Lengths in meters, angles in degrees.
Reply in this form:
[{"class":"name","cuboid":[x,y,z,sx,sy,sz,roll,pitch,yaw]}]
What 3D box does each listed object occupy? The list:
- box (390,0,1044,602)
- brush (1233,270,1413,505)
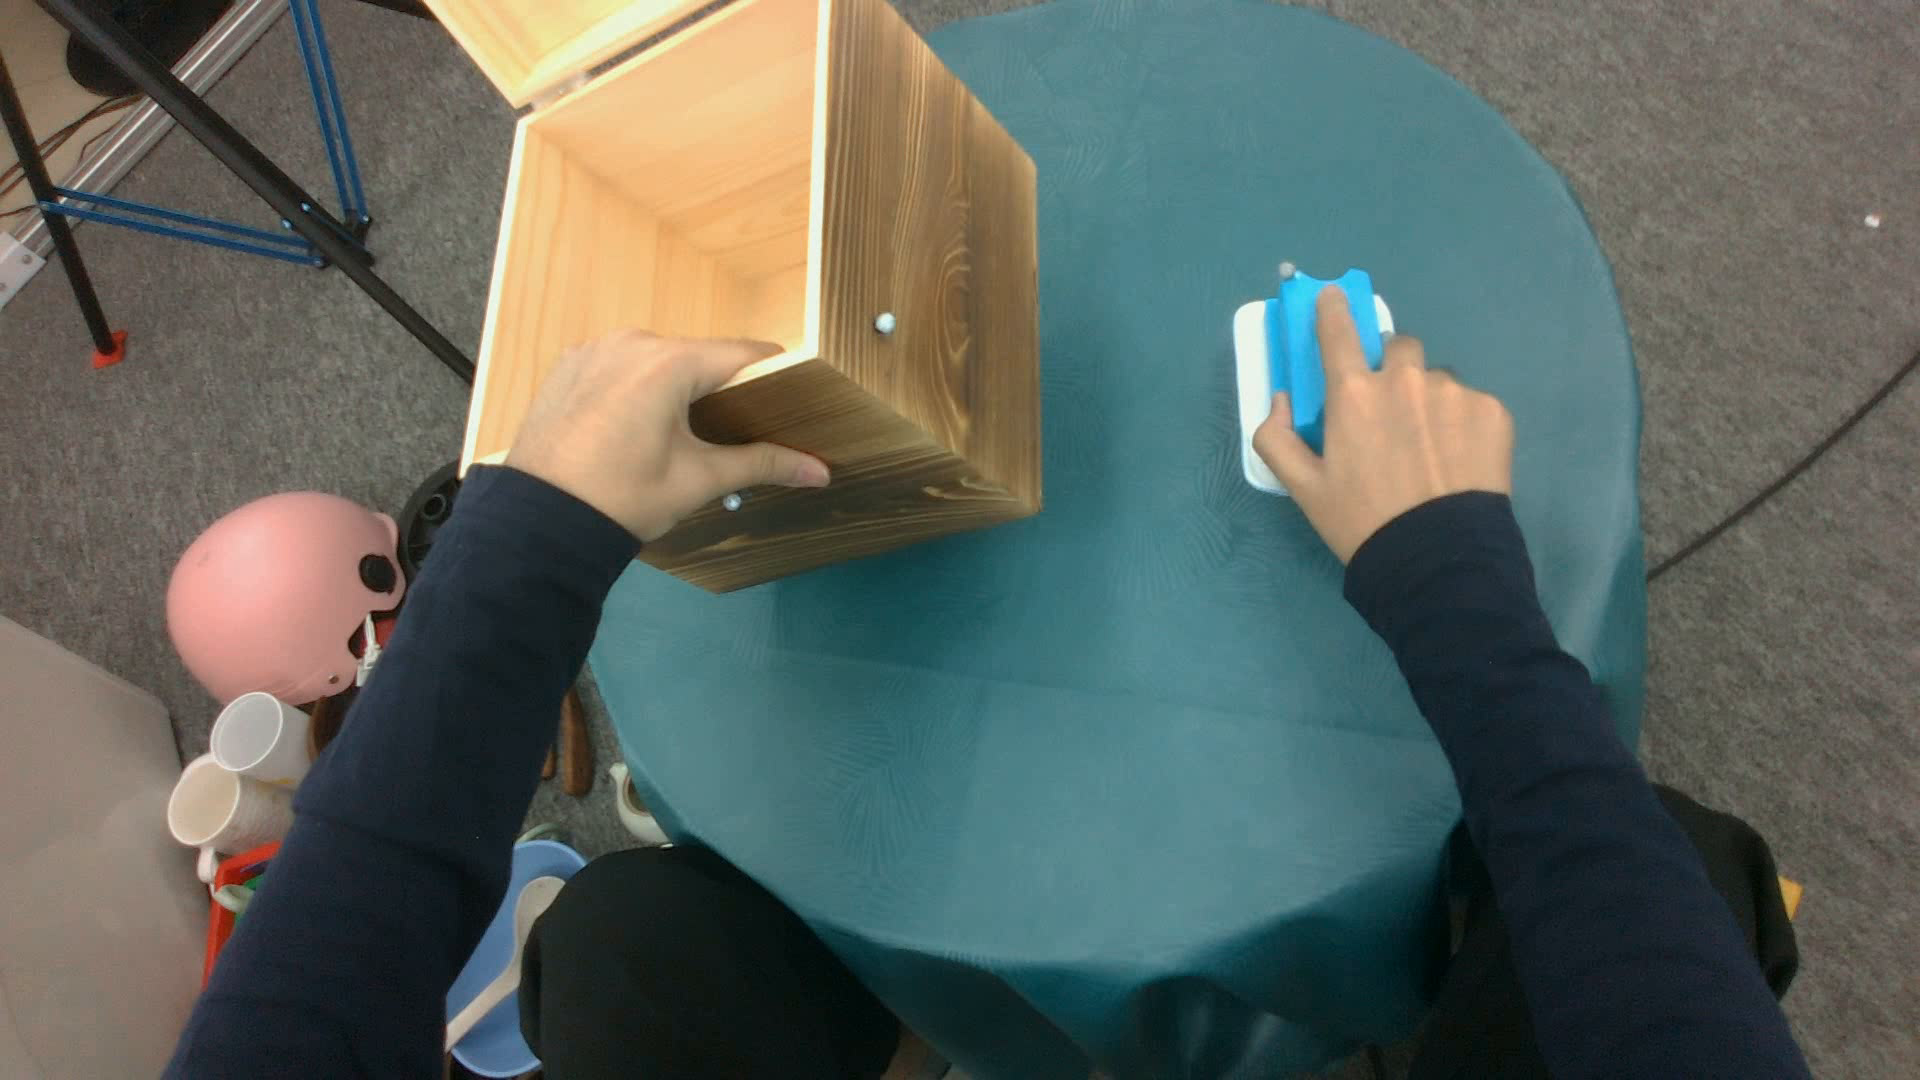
[{"class":"box","cuboid":[-0.148,-0.184,0.629,0.208,0.375,0.323,-16,62,30]},{"class":"brush","cuboid":[0.178,-0.082,0.684,0.084,0.055,0.144,-1,48,12]}]
